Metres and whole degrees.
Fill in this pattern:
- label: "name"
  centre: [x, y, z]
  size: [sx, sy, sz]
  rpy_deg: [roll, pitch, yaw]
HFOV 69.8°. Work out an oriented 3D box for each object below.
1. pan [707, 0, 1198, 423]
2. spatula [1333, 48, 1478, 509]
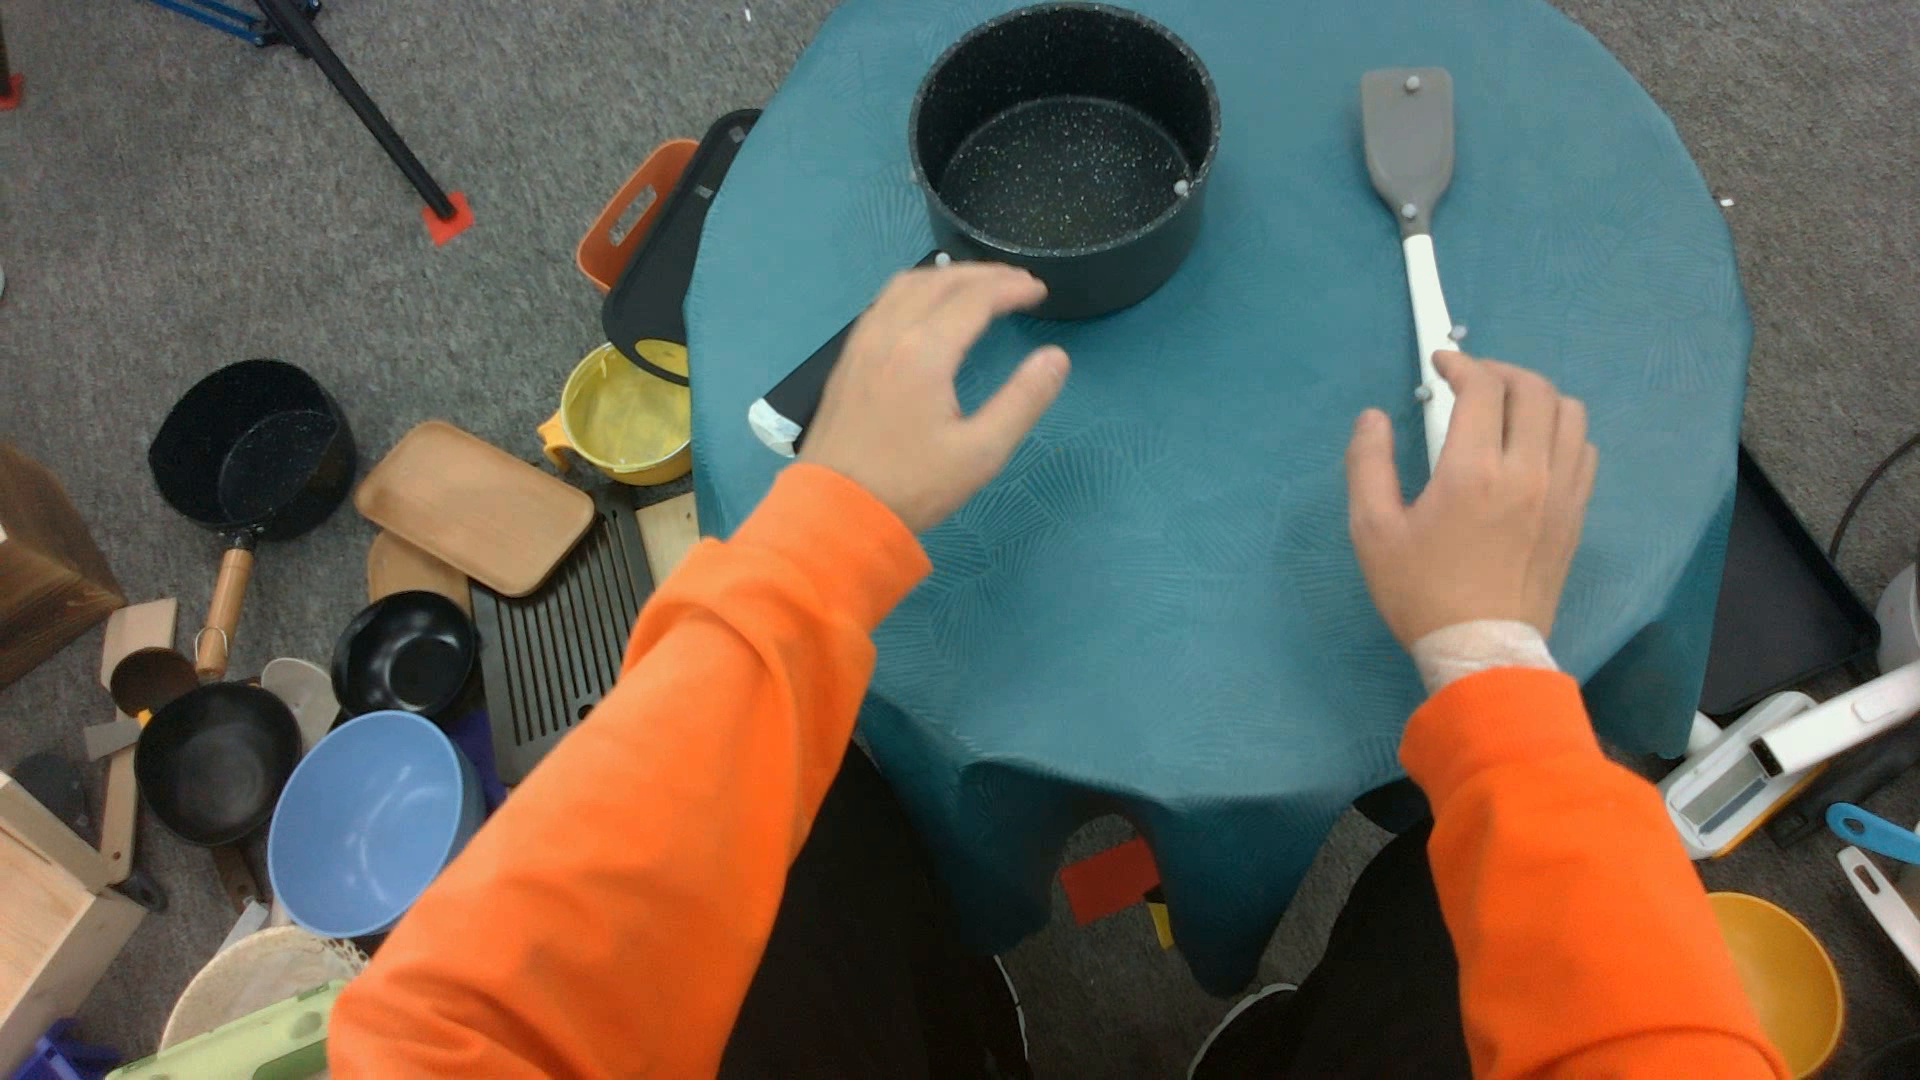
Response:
- label: "pan"
  centre: [-0.006, -0.169, 0.766]
  size: [0.172, 0.086, 0.329]
  rpy_deg: [38, 73, 19]
- label: "spatula"
  centre: [0.249, -0.154, 0.768]
  size: [0.058, 0.032, 0.288]
  rpy_deg: [-4, 68, 7]
